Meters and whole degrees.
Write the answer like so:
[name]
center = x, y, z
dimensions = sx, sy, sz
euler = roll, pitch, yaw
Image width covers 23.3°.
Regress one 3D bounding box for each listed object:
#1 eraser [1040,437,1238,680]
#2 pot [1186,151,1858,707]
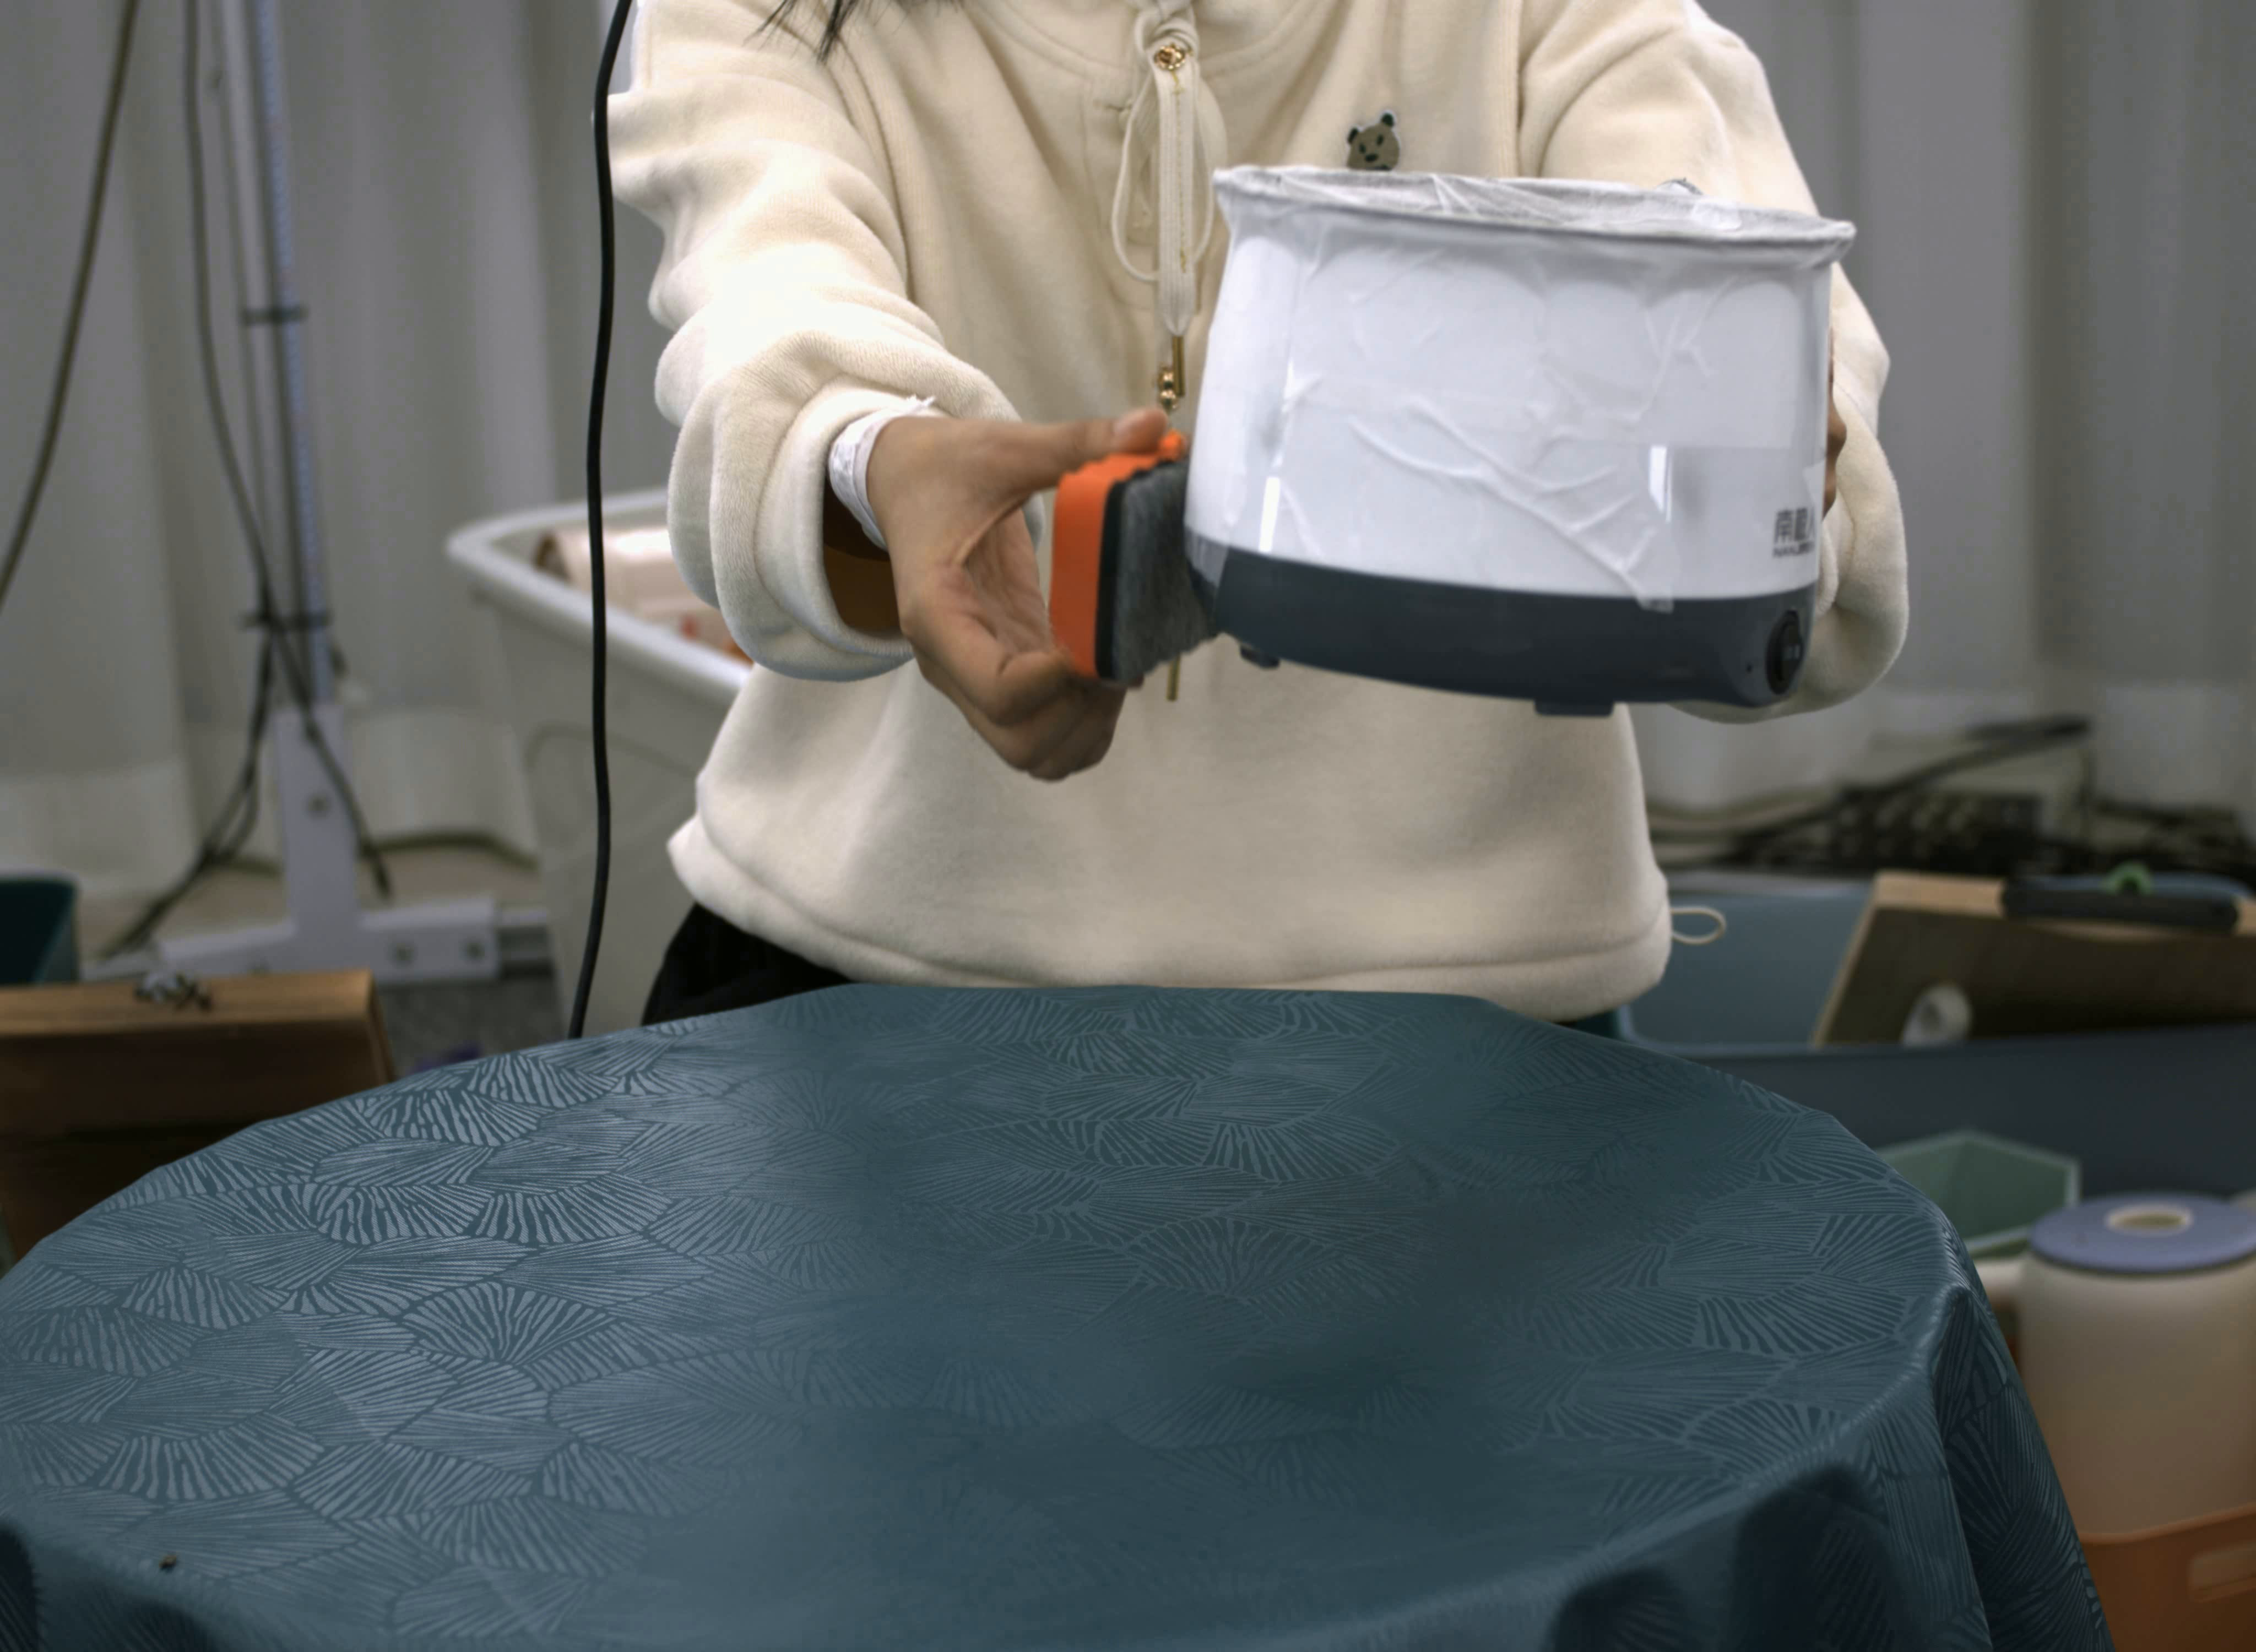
[eraser]
center = 0.005, -0.077, 1.555
dimensions = 0.023, 0.059, 0.108
euler = 6, 13, 21
[pot]
center = 0.119, -0.116, 1.535
dimensions = 0.179, 0.136, 0.233
euler = 10, 12, 26
